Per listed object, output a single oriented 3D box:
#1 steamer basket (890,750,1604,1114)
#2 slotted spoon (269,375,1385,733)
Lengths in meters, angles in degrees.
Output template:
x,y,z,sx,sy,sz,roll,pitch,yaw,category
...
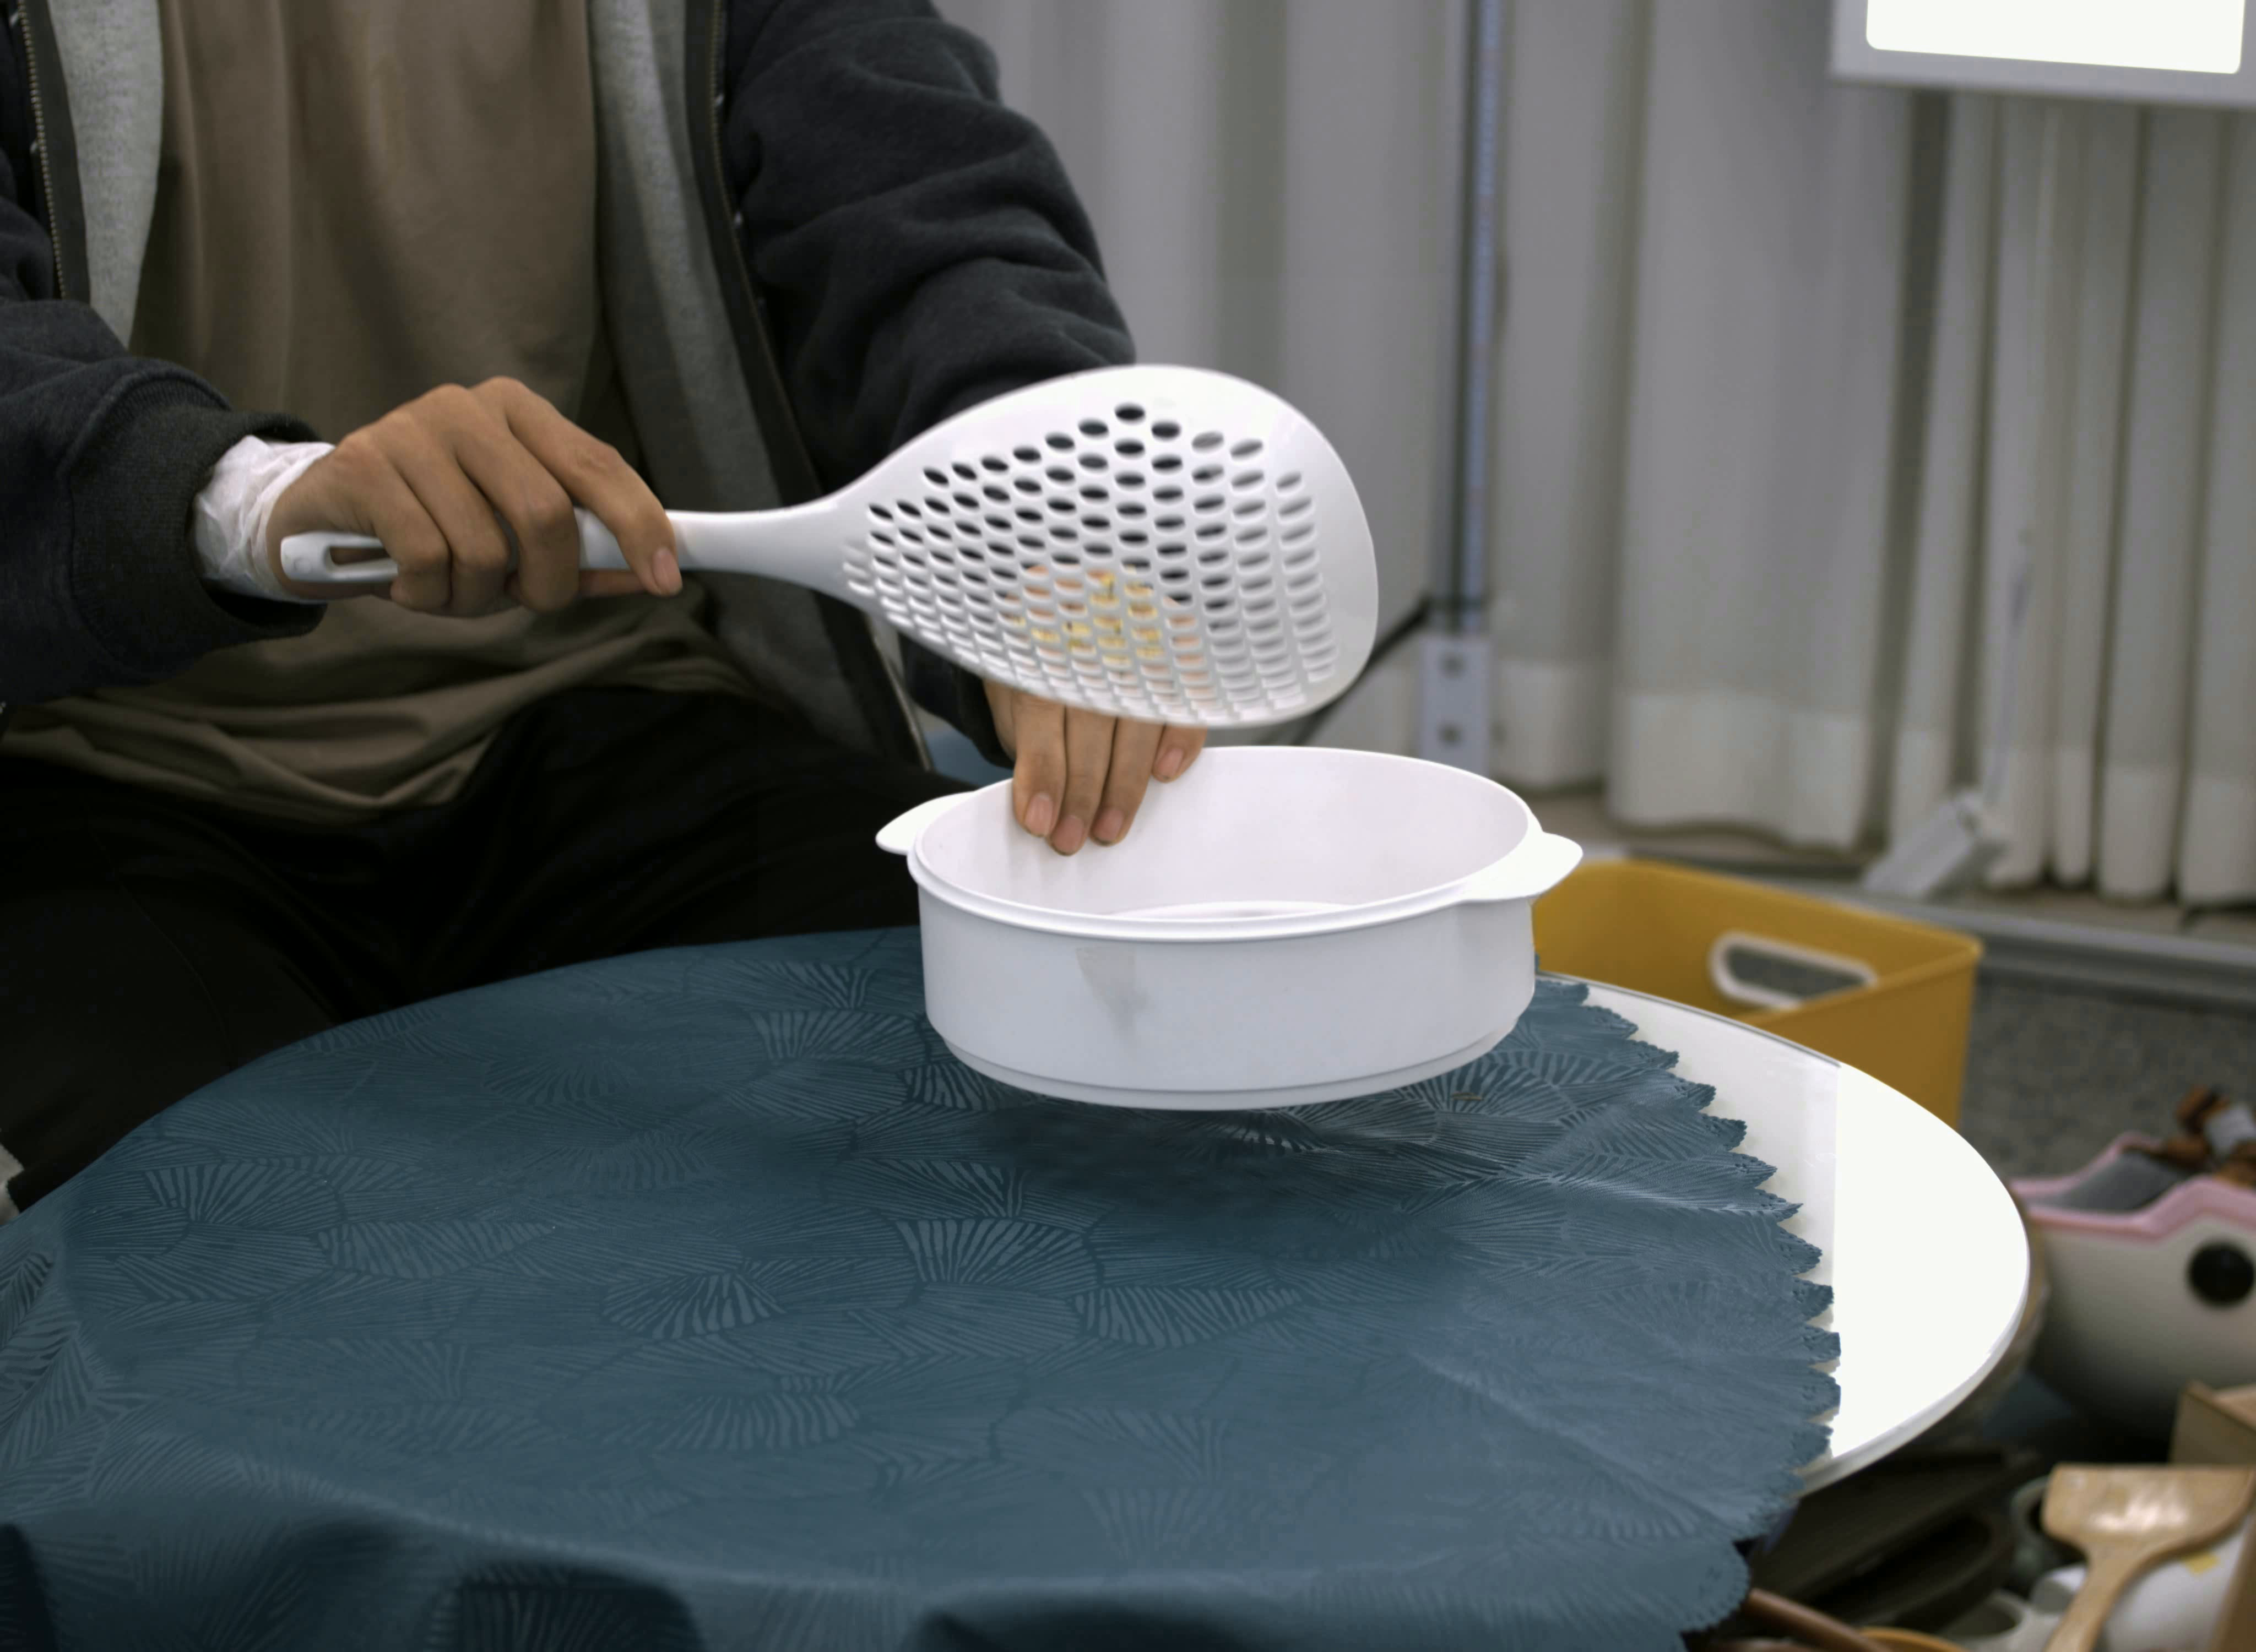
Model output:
x,y,z,sx,sy,sz,roll,pitch,yaw,category
0.036,0.033,1.664,0.228,0.070,0.202,7,18,22,steamer basket
-0.094,-0.078,1.611,0.345,0.138,0.050,5,44,16,slotted spoon
